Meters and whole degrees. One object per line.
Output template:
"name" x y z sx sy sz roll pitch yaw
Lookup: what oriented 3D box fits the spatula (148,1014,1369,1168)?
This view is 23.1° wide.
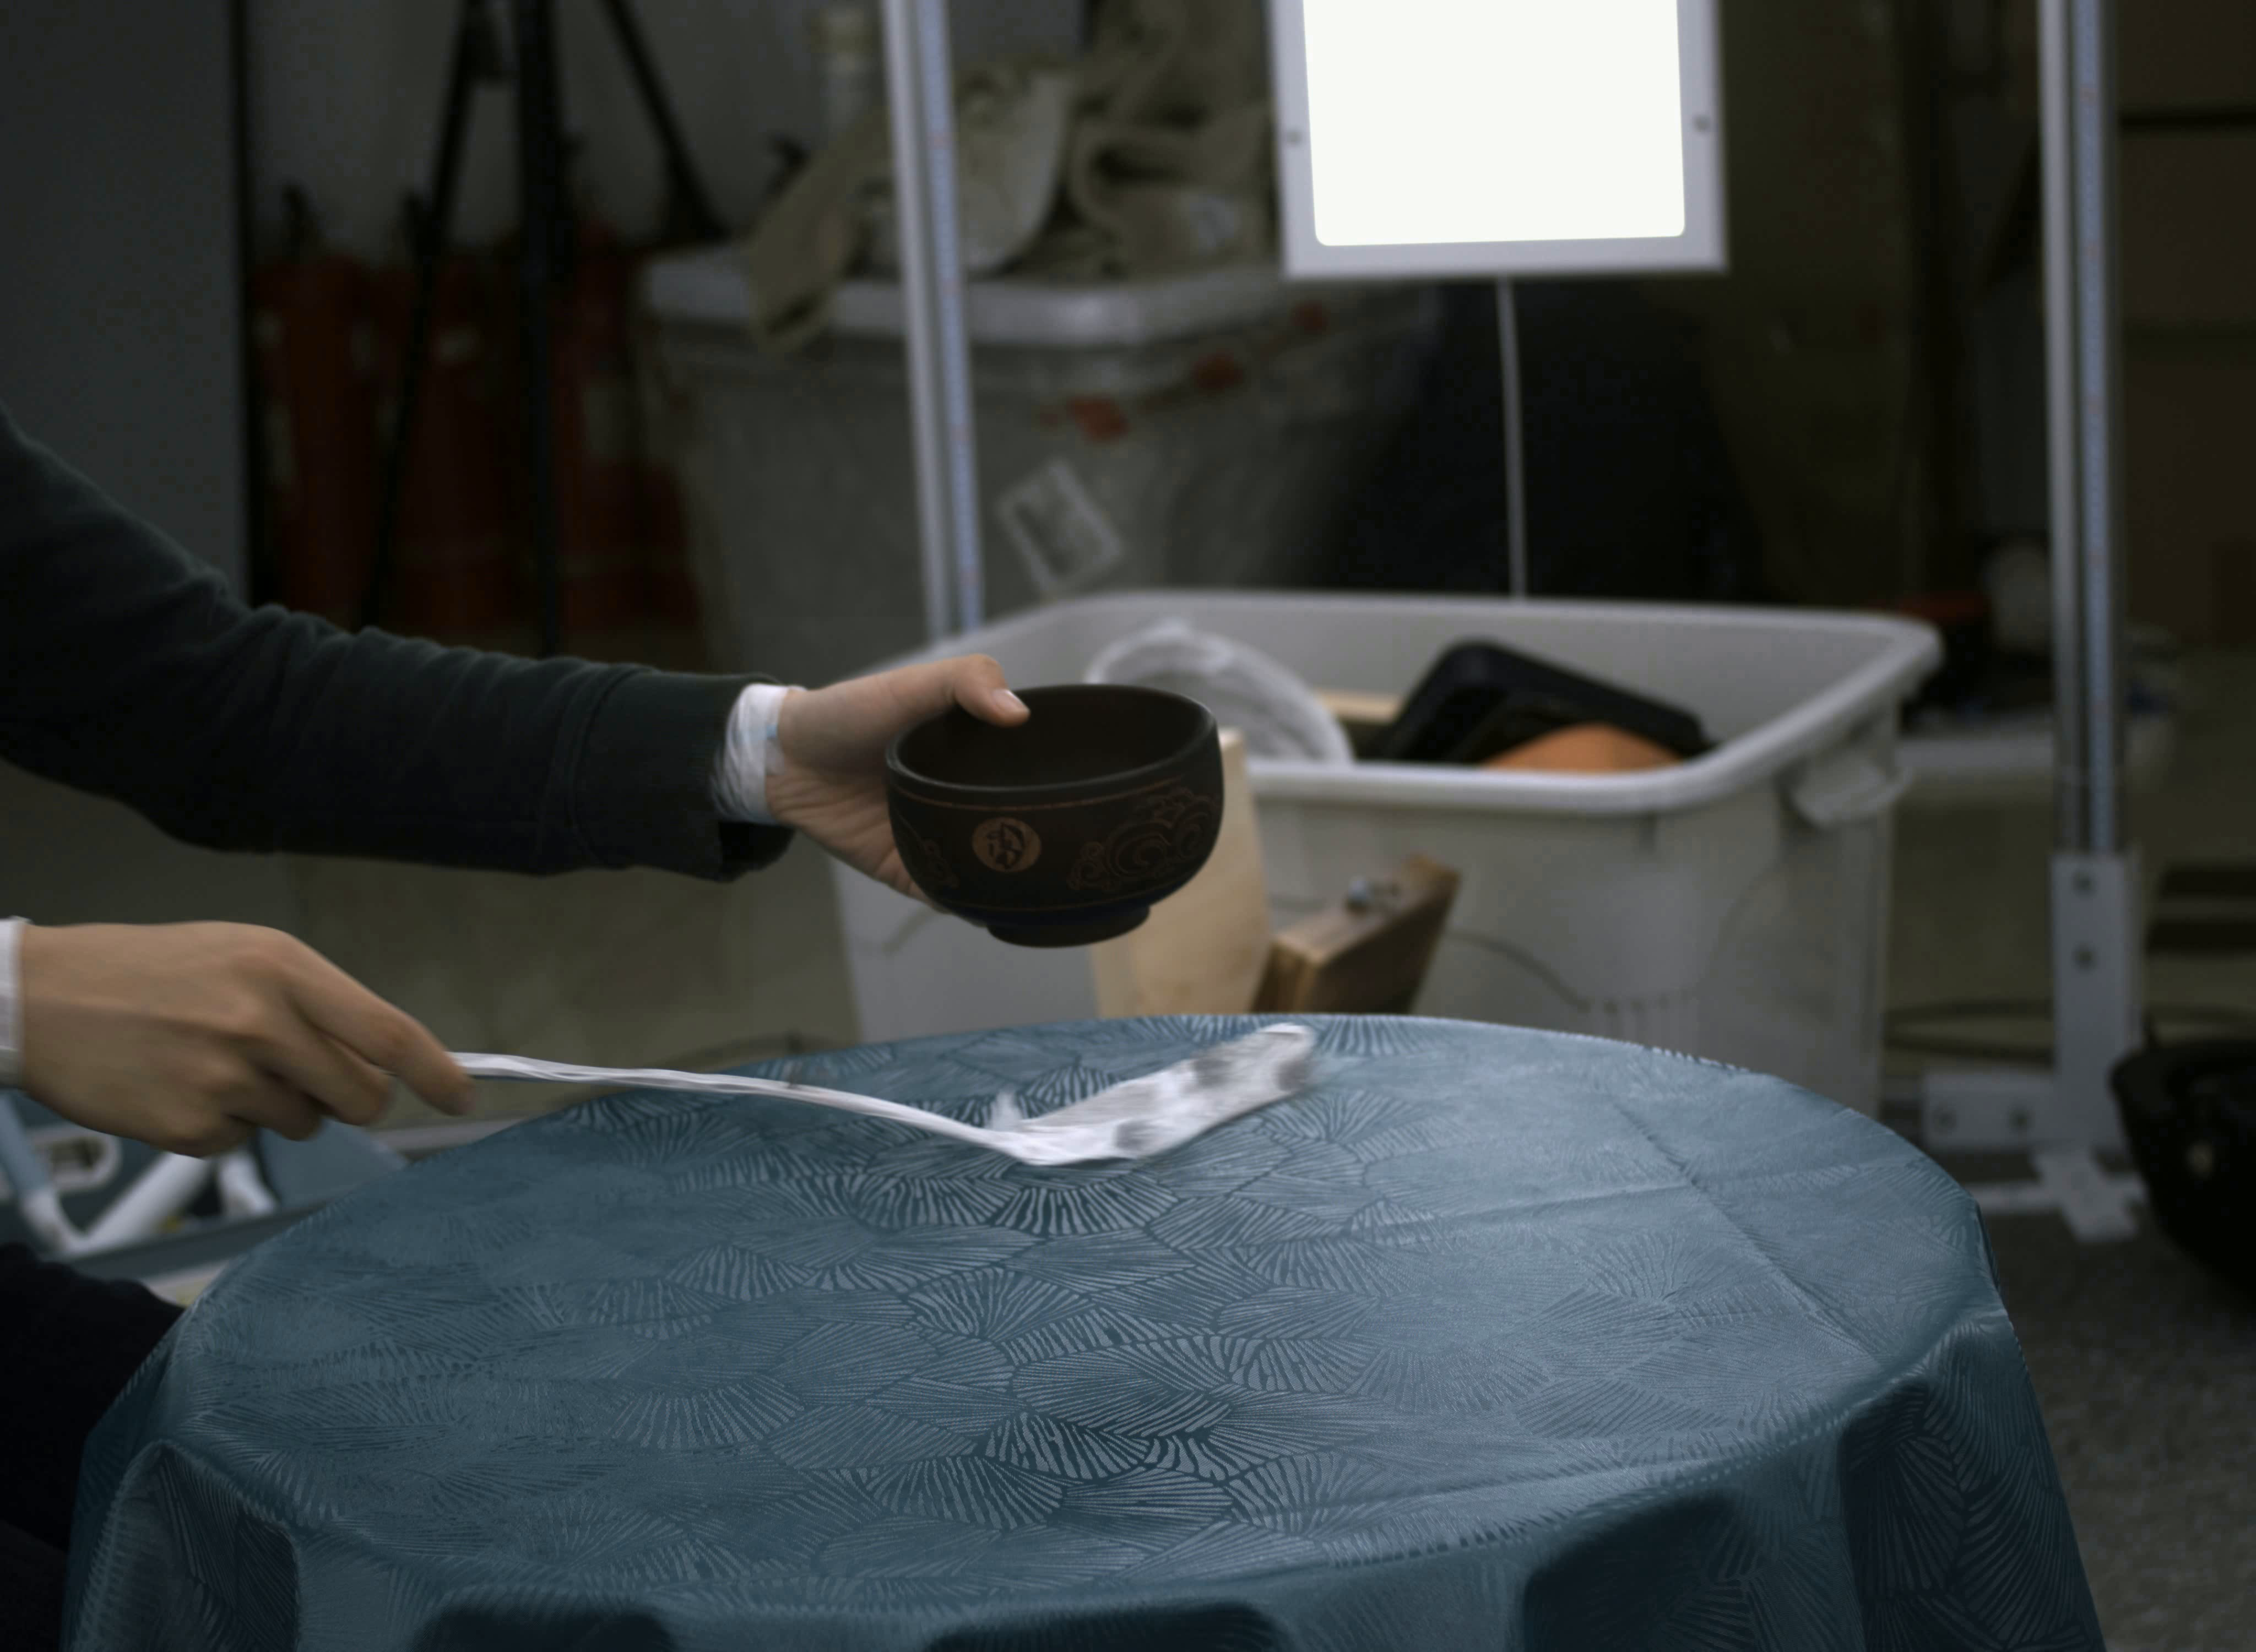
"spatula" -0.111 0.073 1.642 0.364 0.045 0.098 4 11 0

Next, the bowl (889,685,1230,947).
"bowl" -0.022 0.000 1.905 0.118 0.070 0.118 -6 17 0
